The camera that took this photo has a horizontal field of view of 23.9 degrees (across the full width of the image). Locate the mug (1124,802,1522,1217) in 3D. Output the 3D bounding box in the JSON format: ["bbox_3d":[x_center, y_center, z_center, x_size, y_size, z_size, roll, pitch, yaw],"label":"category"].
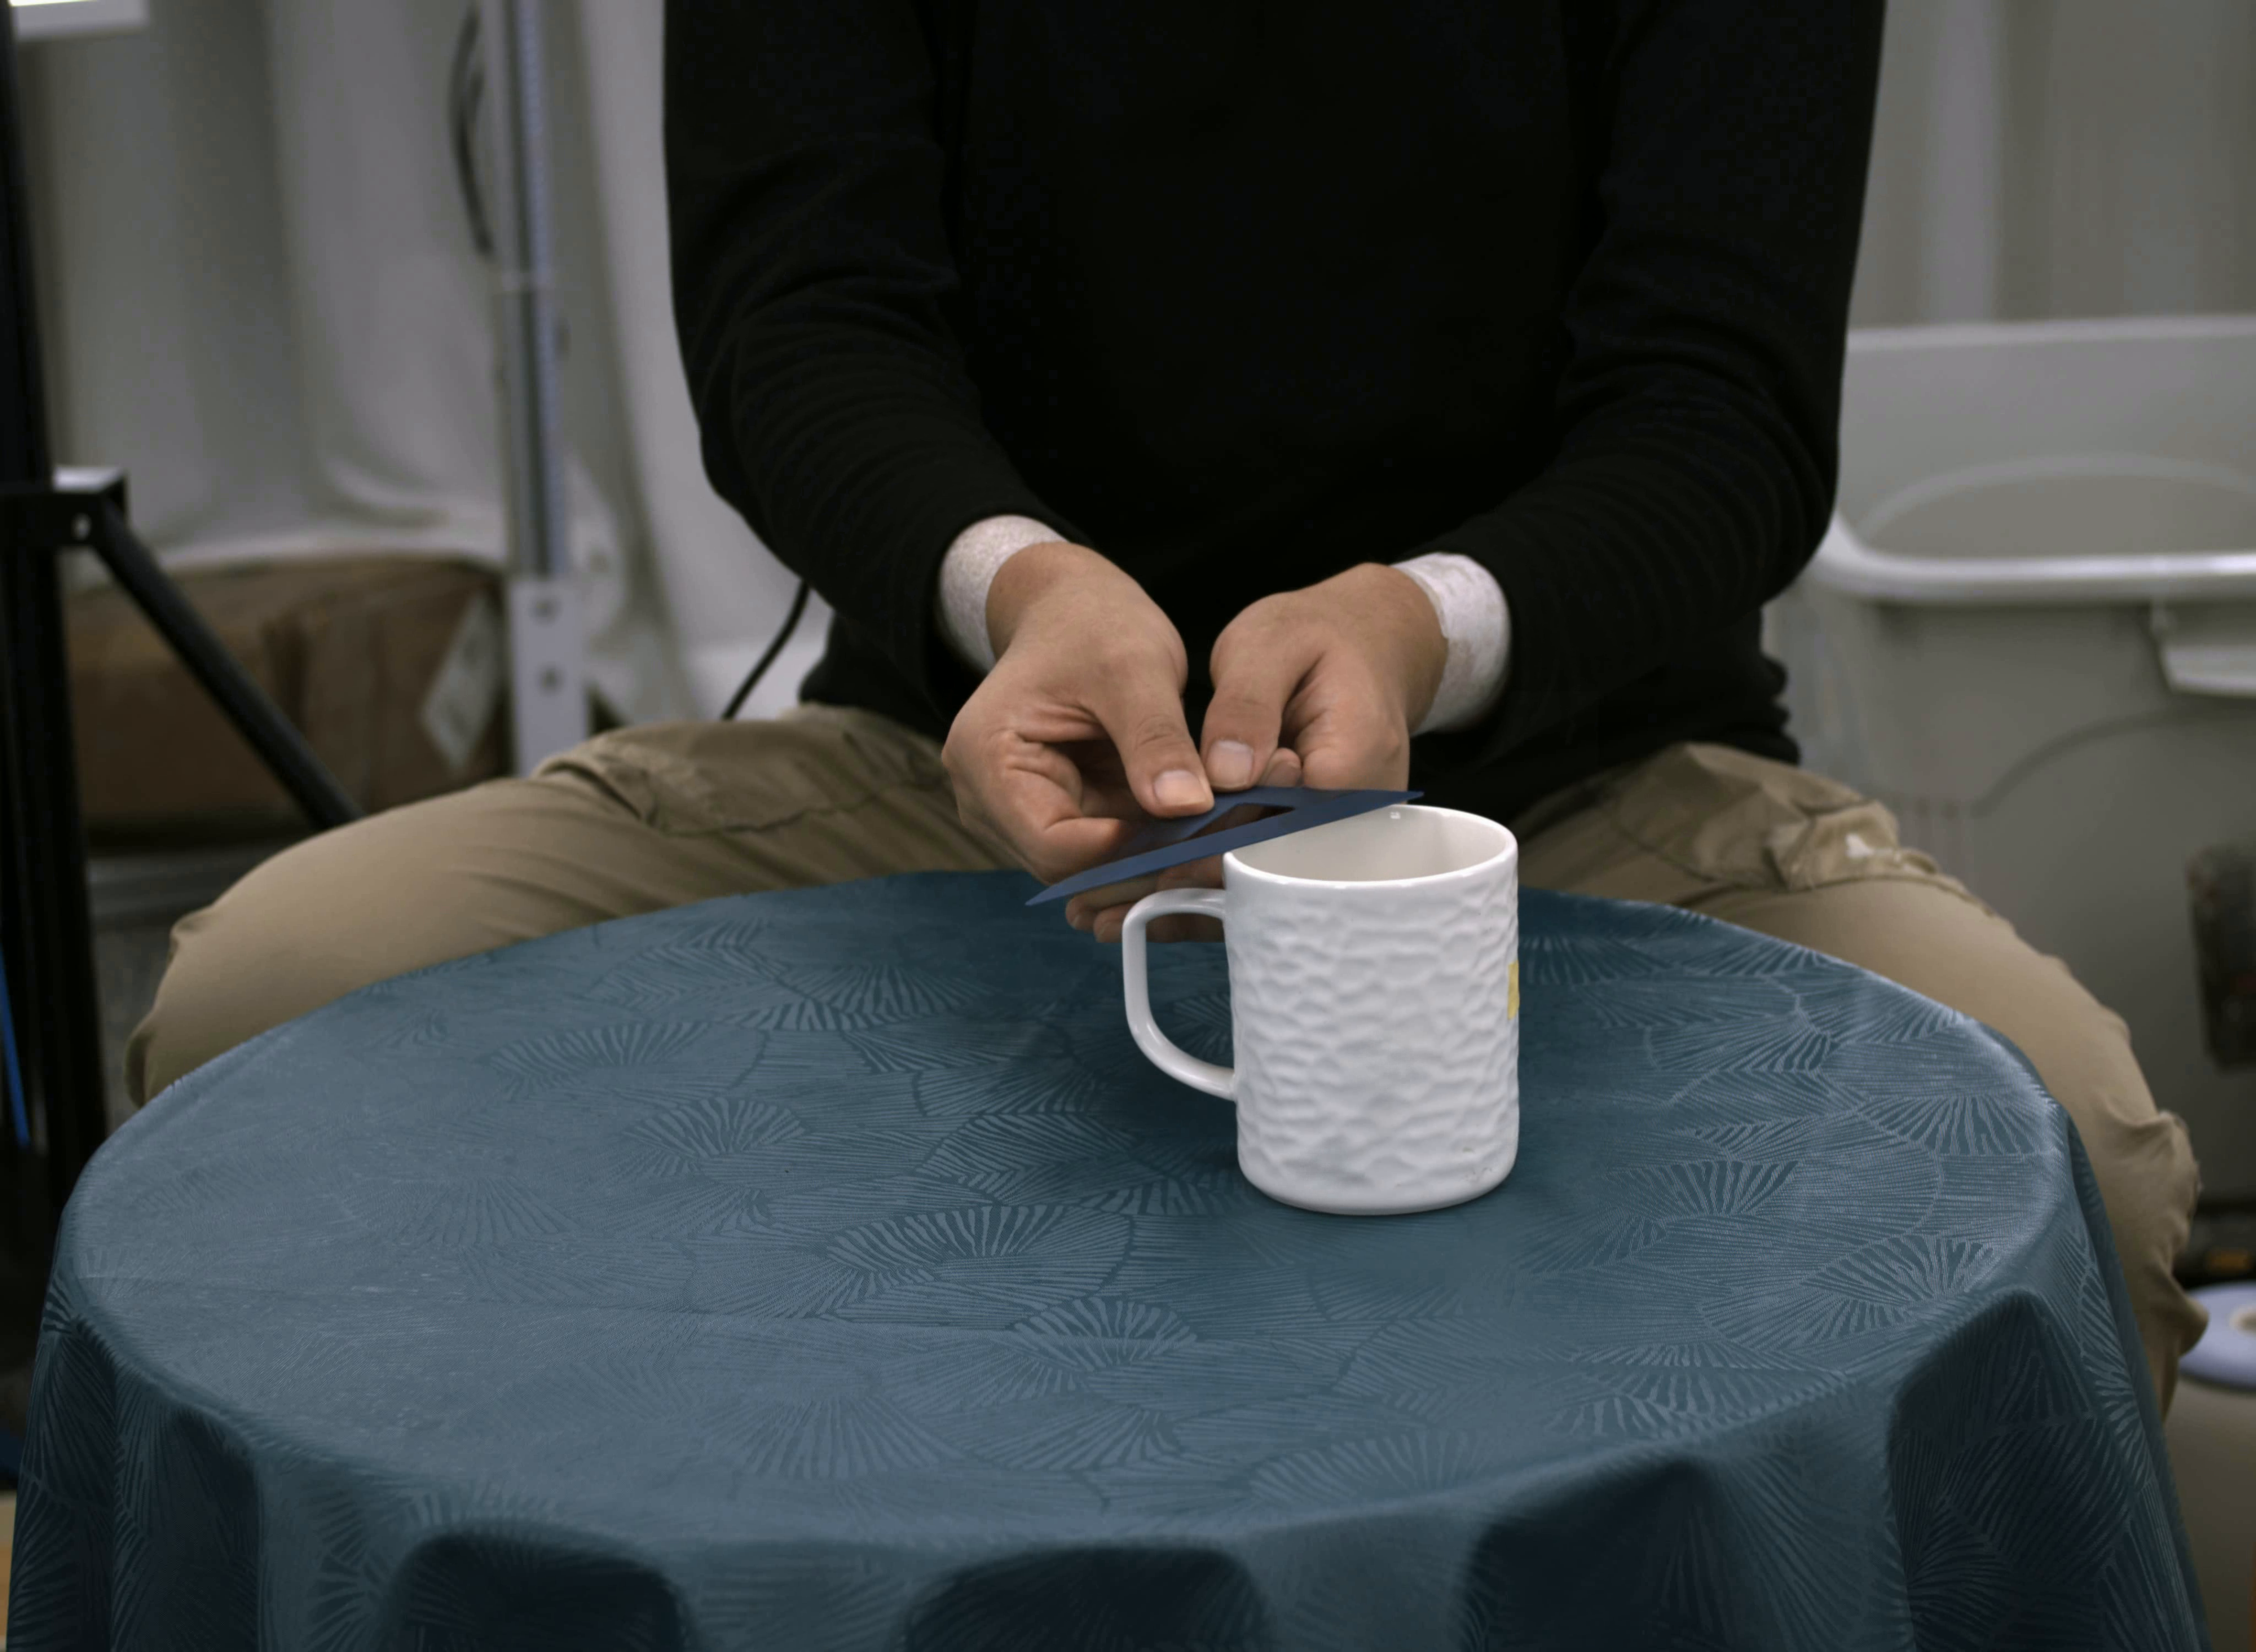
[{"bbox_3d":[0.057,0.053,1.555,0.119,0.102,0.084,2,16,16],"label":"mug"}]

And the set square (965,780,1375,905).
[{"bbox_3d":[0.003,0.001,1.563,0.129,0.006,0.062,-15,19,-23],"label":"set square"}]
